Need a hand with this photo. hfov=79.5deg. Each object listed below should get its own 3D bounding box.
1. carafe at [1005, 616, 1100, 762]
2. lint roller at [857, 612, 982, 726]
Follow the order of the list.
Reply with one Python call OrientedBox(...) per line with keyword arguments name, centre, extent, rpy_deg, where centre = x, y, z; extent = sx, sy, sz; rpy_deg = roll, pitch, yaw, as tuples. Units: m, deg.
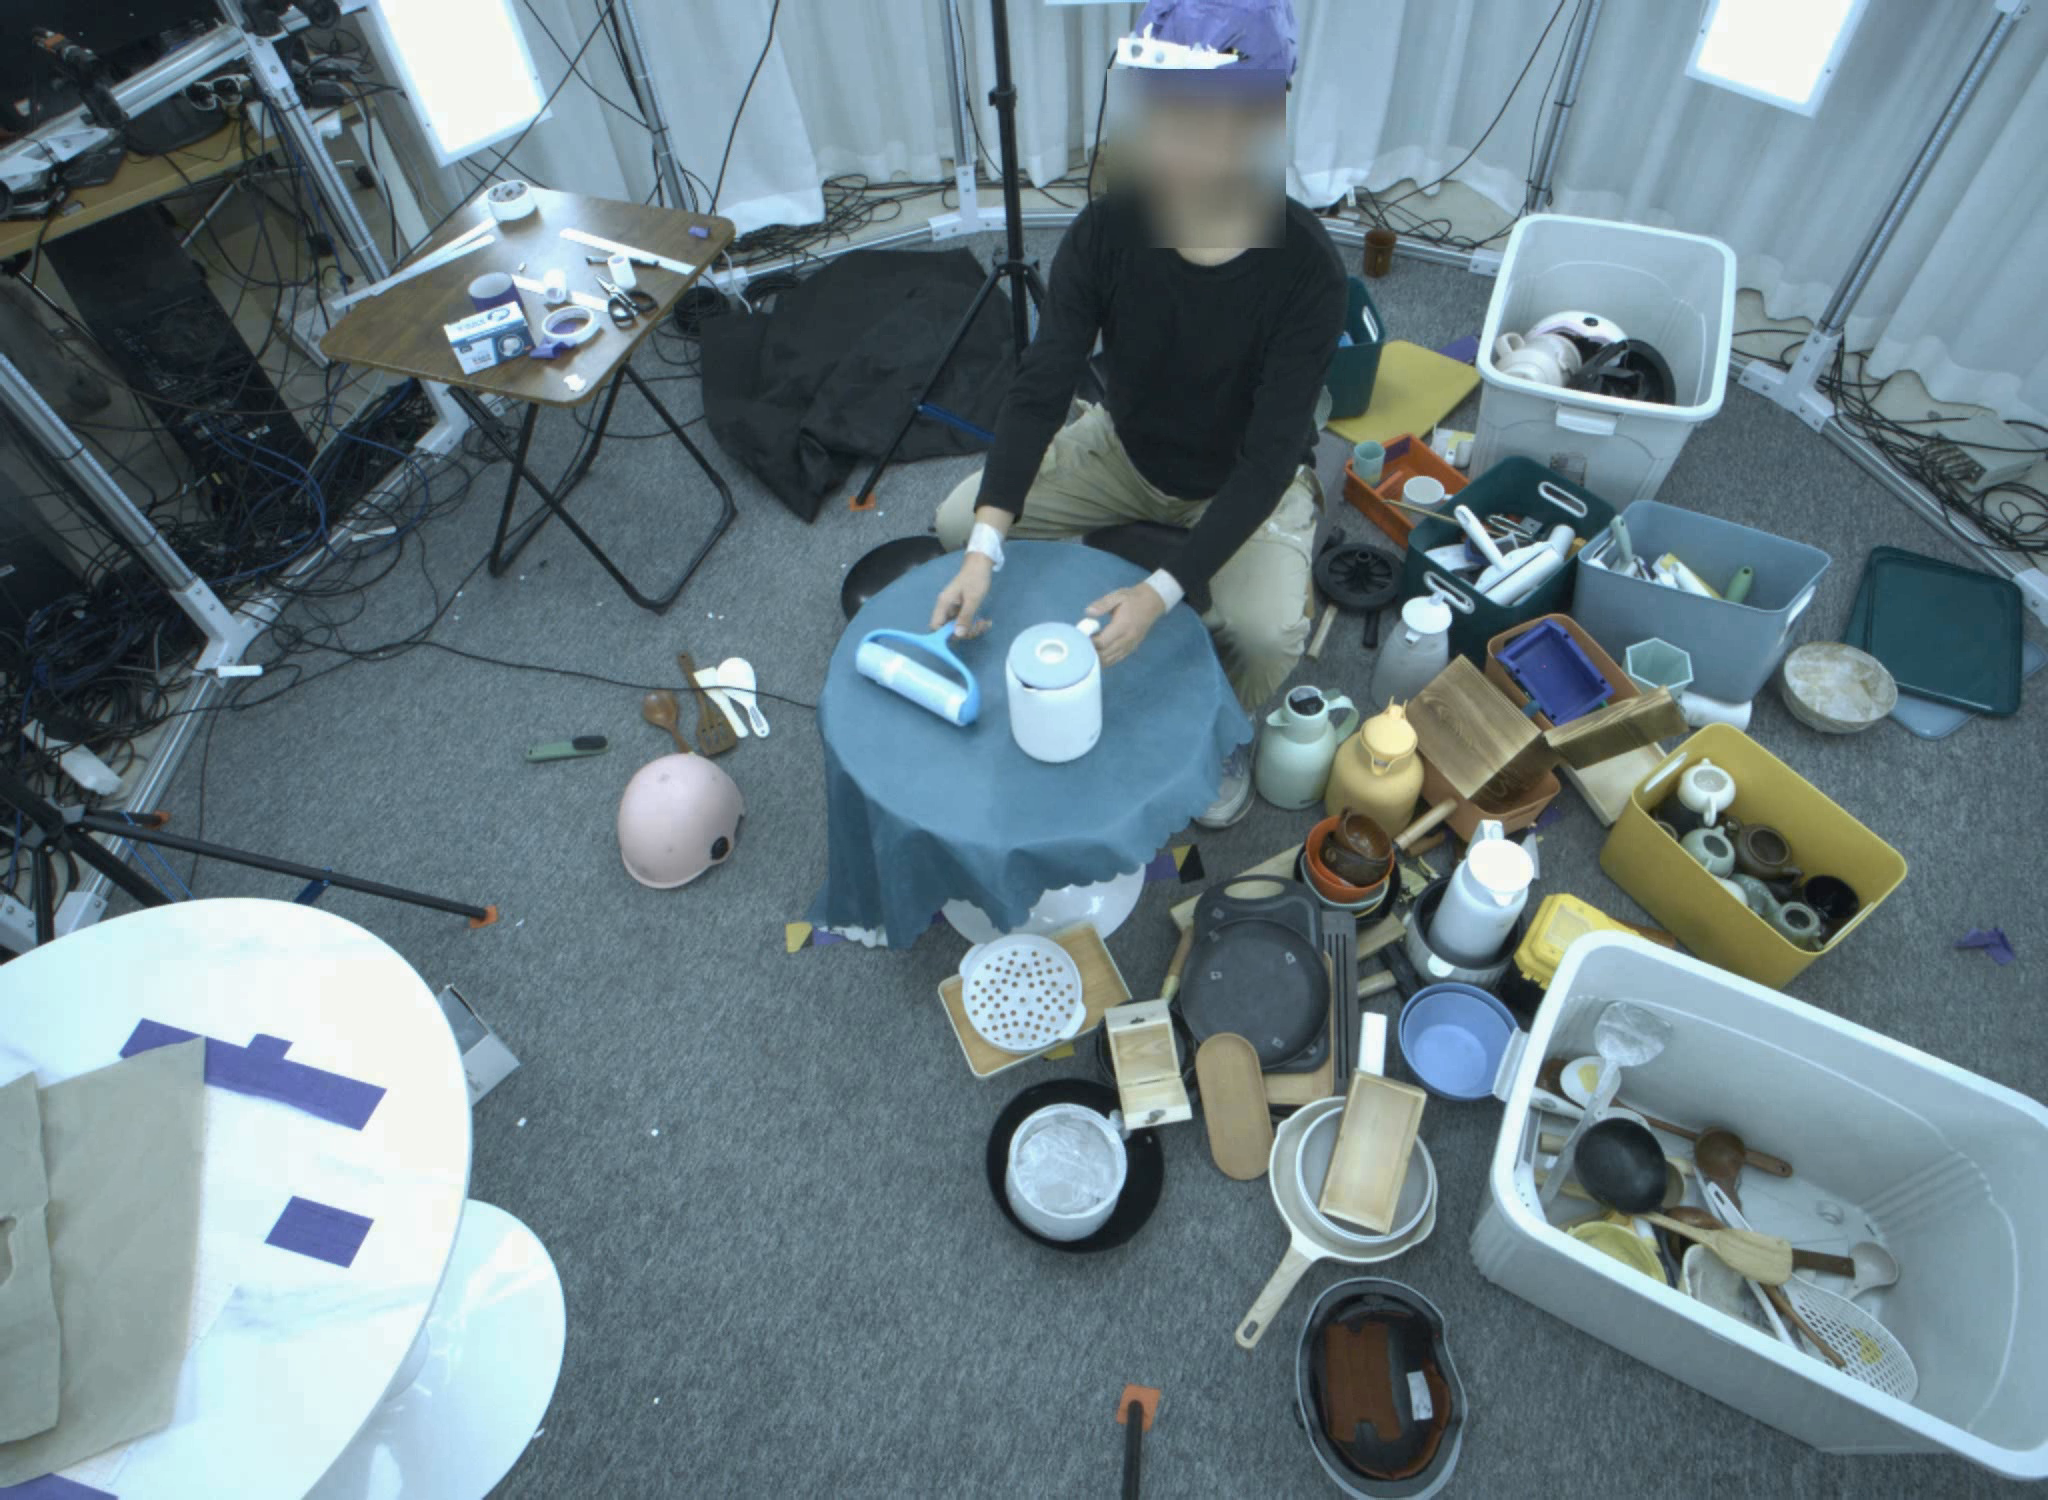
OrientedBox(name="carafe", centre=(0.055, -0.098, 1.750), extent=(0.130, 0.184, 0.192), rpy_deg=(26, 58, 19))
OrientedBox(name="lint roller", centre=(-0.129, -0.149, 1.848), extent=(0.225, 0.069, 0.180), rpy_deg=(26, 74, 23))
